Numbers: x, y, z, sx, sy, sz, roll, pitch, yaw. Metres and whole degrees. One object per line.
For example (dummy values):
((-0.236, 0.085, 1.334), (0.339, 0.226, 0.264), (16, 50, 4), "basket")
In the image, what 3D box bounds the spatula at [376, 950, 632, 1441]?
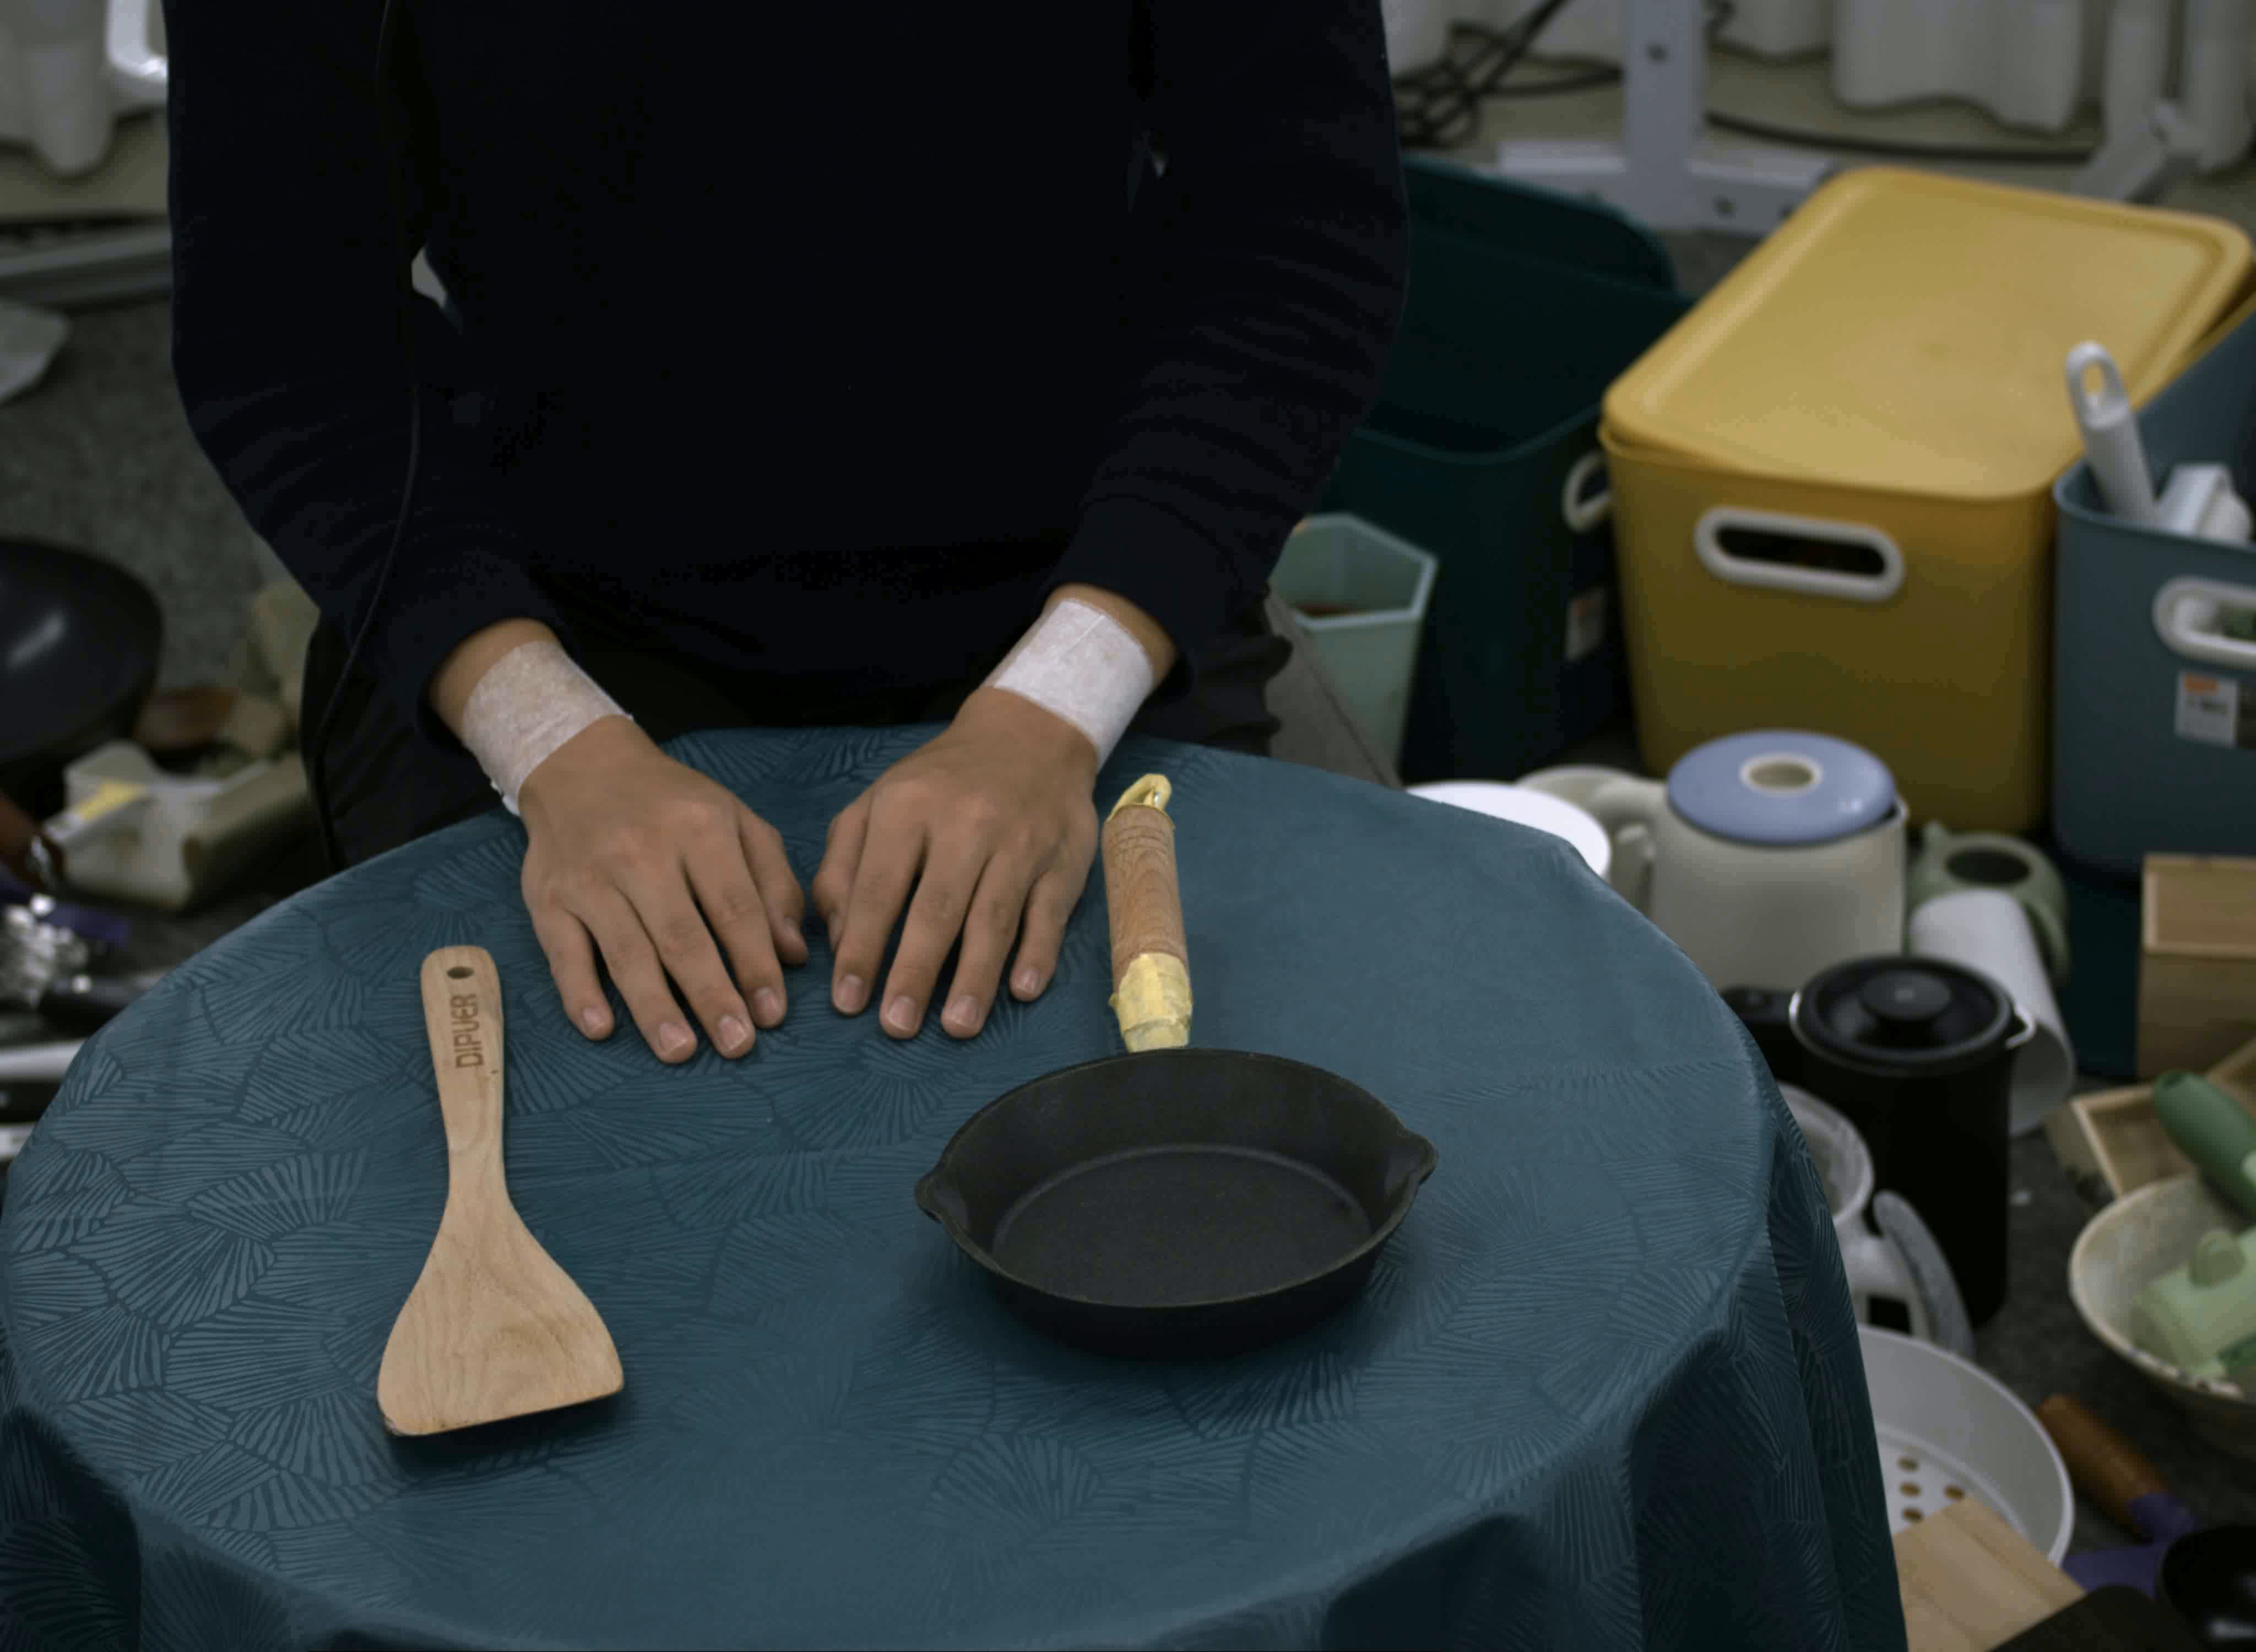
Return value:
((-0.216, 0.117, 1.874), (0.080, 0.016, 0.332), (-6, 28, -7), "spatula")

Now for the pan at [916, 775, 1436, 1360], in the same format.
((0.013, 0.078, 1.890), (0.168, 0.049, 0.329), (-3, 29, 0), "pan")
